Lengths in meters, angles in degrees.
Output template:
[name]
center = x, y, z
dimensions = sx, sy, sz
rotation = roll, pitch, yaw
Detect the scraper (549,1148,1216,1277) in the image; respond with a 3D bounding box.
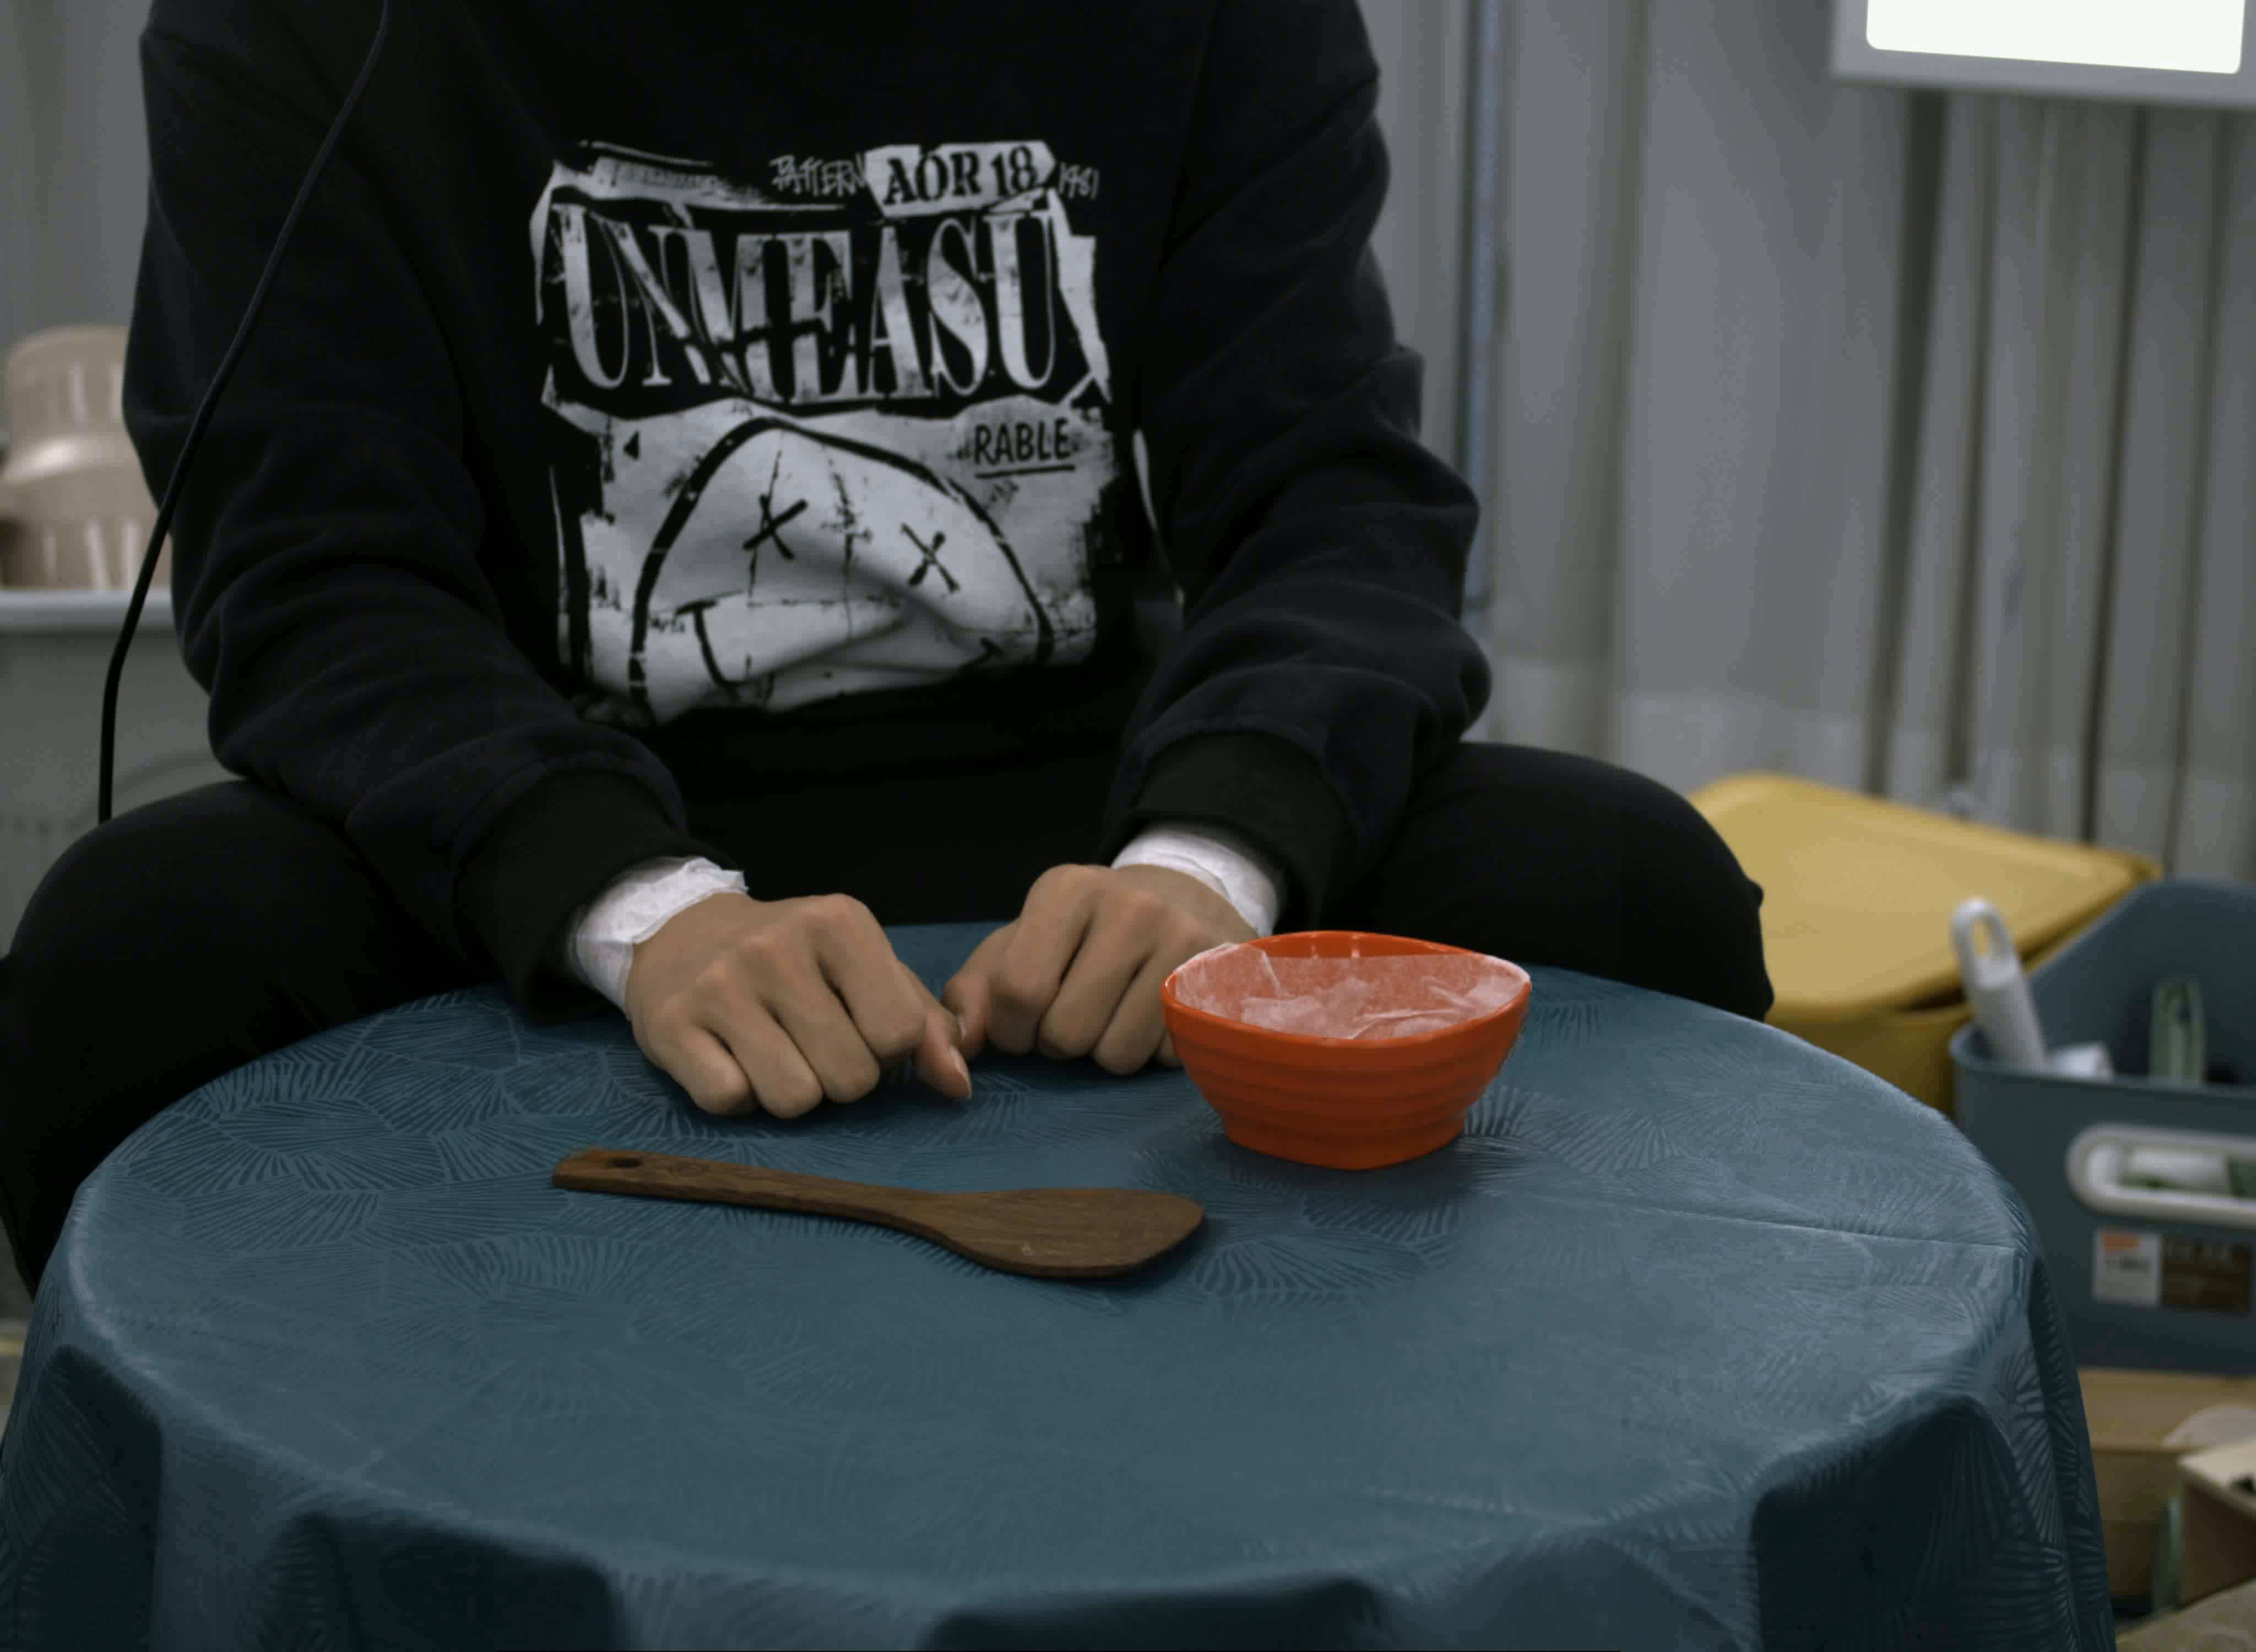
[scraper]
center = -0.078, 0.115, 1.602
dimensions = 0.209, 0.011, 0.076
rotation = 6, 15, 20

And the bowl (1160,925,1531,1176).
[bowl]
center = 0.069, 0.074, 1.675
dimensions = 0.118, 0.052, 0.118
rotation = 1, 19, 0
